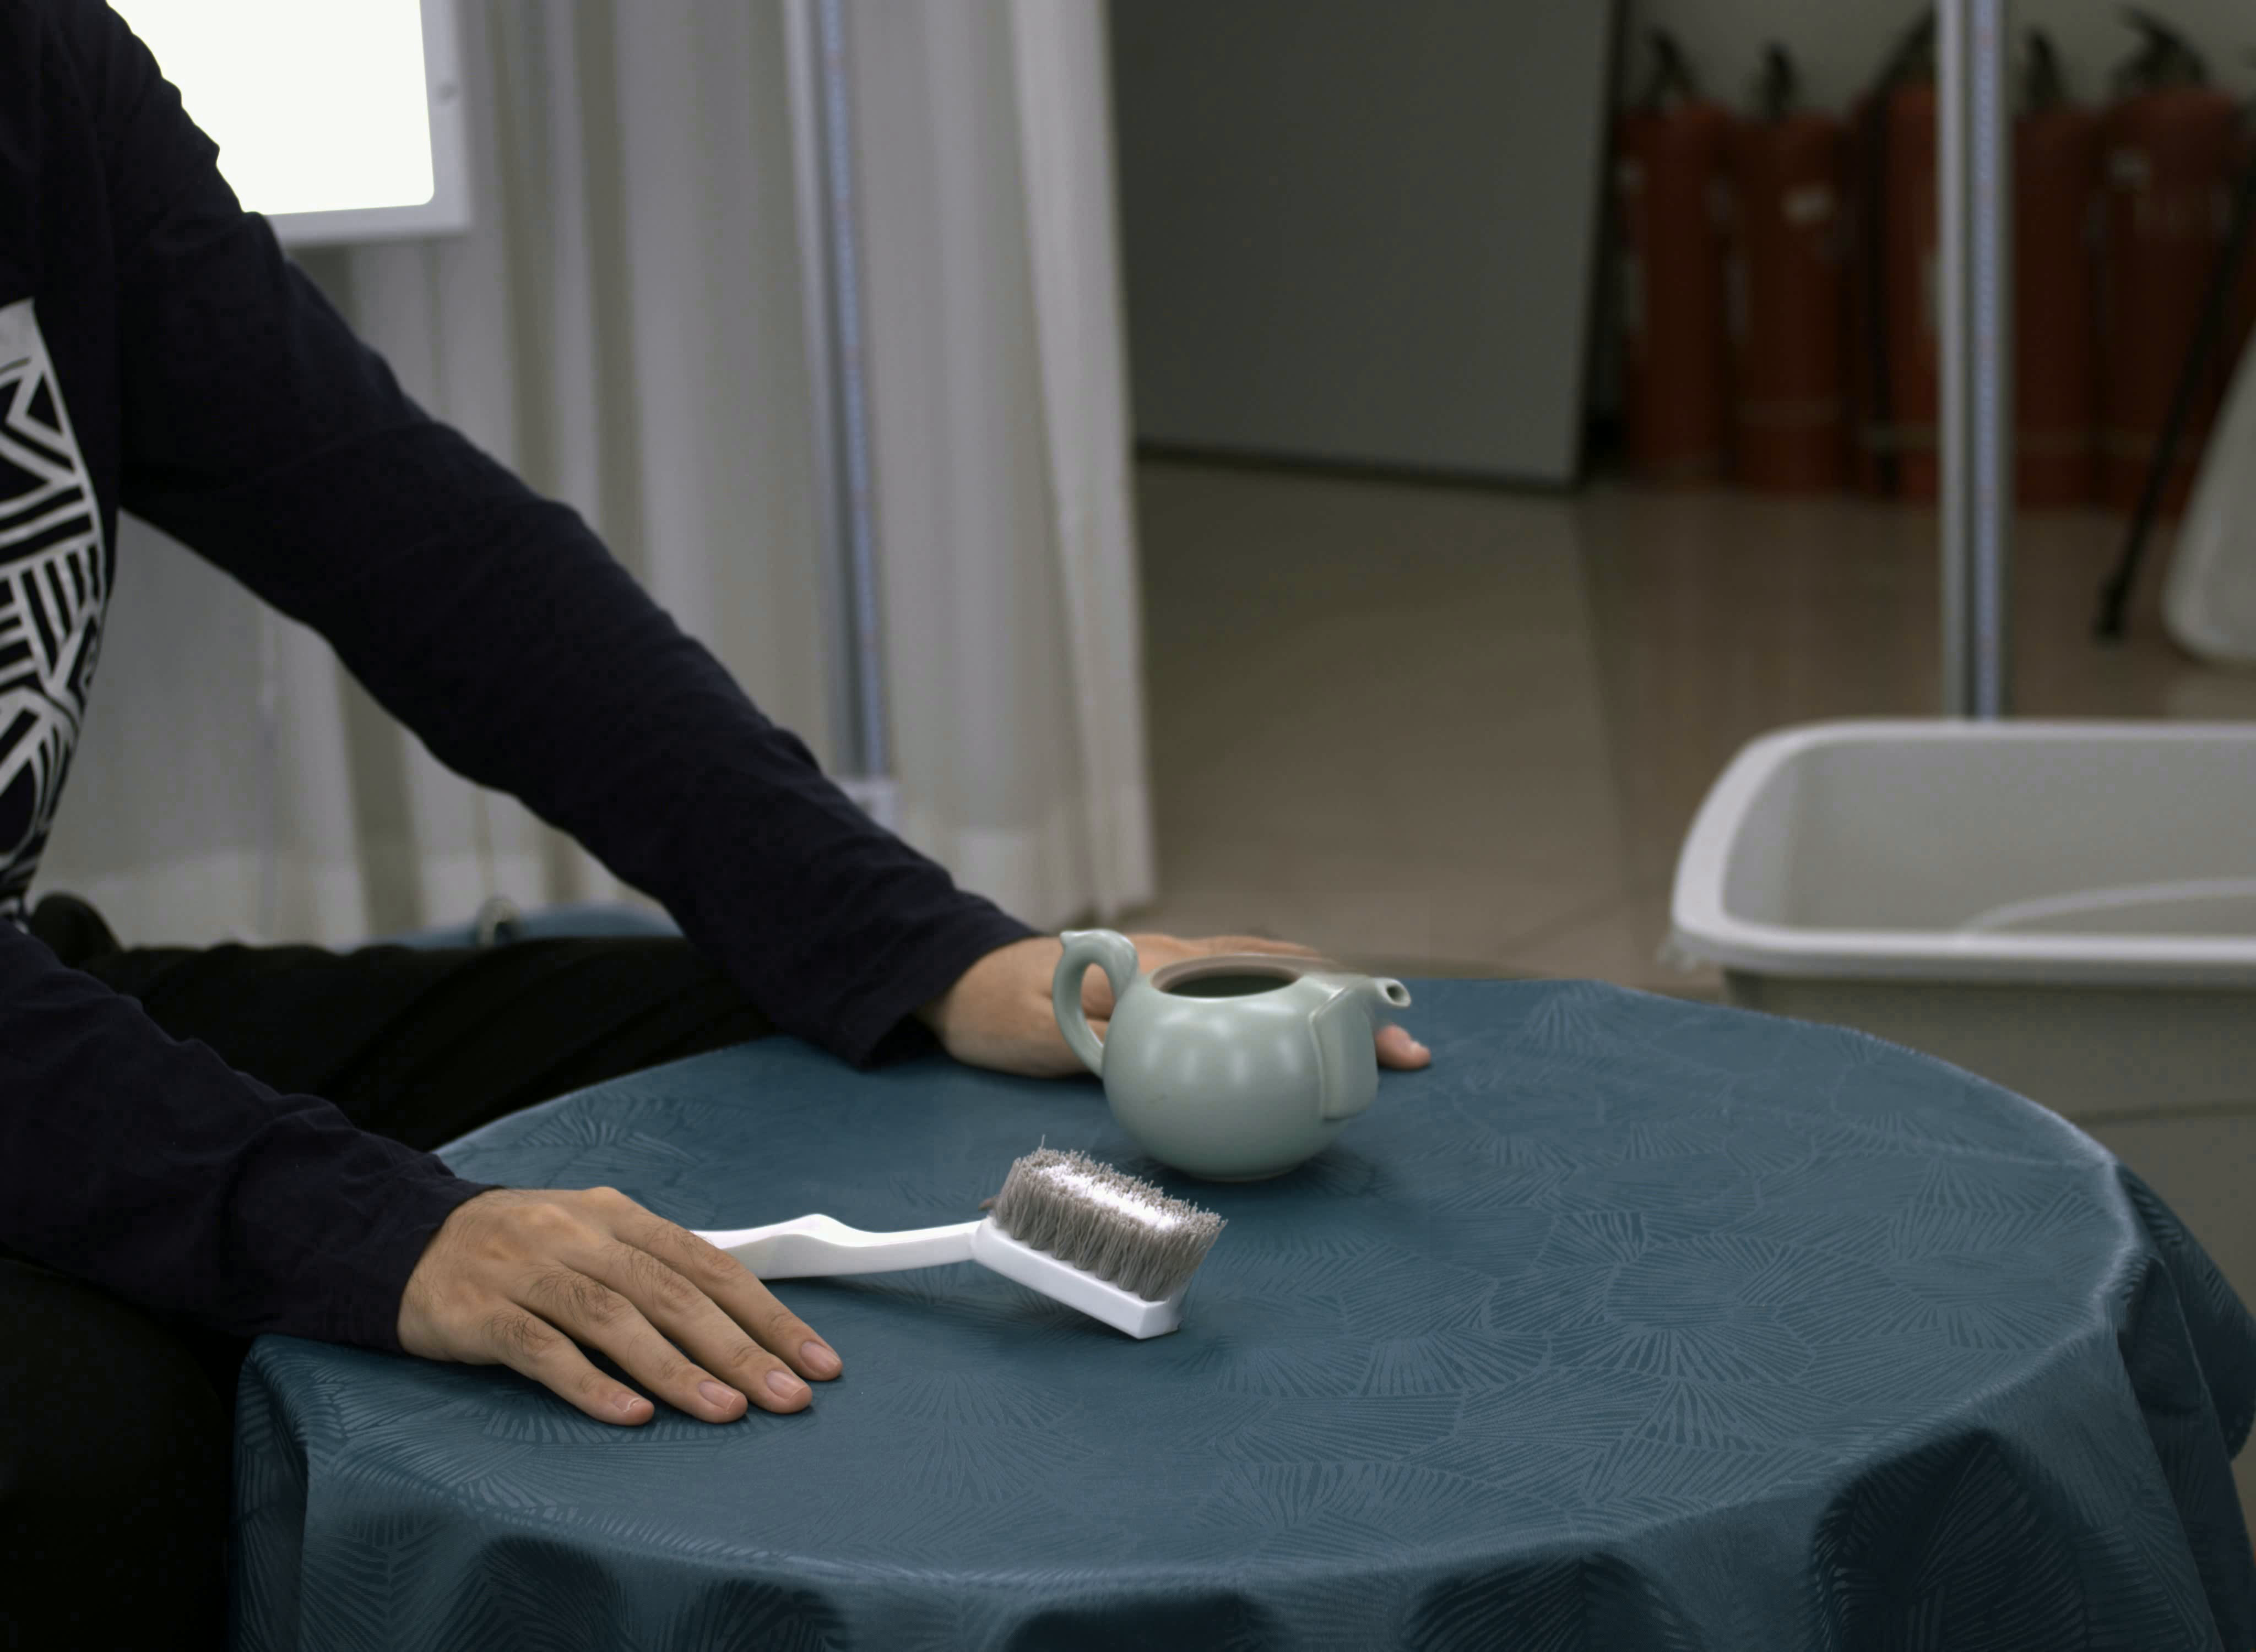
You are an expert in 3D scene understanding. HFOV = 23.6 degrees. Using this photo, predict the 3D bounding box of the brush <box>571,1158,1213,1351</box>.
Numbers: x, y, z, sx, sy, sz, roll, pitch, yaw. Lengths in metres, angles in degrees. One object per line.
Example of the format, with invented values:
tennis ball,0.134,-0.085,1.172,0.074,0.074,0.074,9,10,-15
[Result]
brush,-0.080,0.123,1.692,0.245,0.051,0.034,6,21,34

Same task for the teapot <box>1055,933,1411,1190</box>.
teapot,0.036,0.079,1.787,0.145,0.075,0.086,9,20,39
